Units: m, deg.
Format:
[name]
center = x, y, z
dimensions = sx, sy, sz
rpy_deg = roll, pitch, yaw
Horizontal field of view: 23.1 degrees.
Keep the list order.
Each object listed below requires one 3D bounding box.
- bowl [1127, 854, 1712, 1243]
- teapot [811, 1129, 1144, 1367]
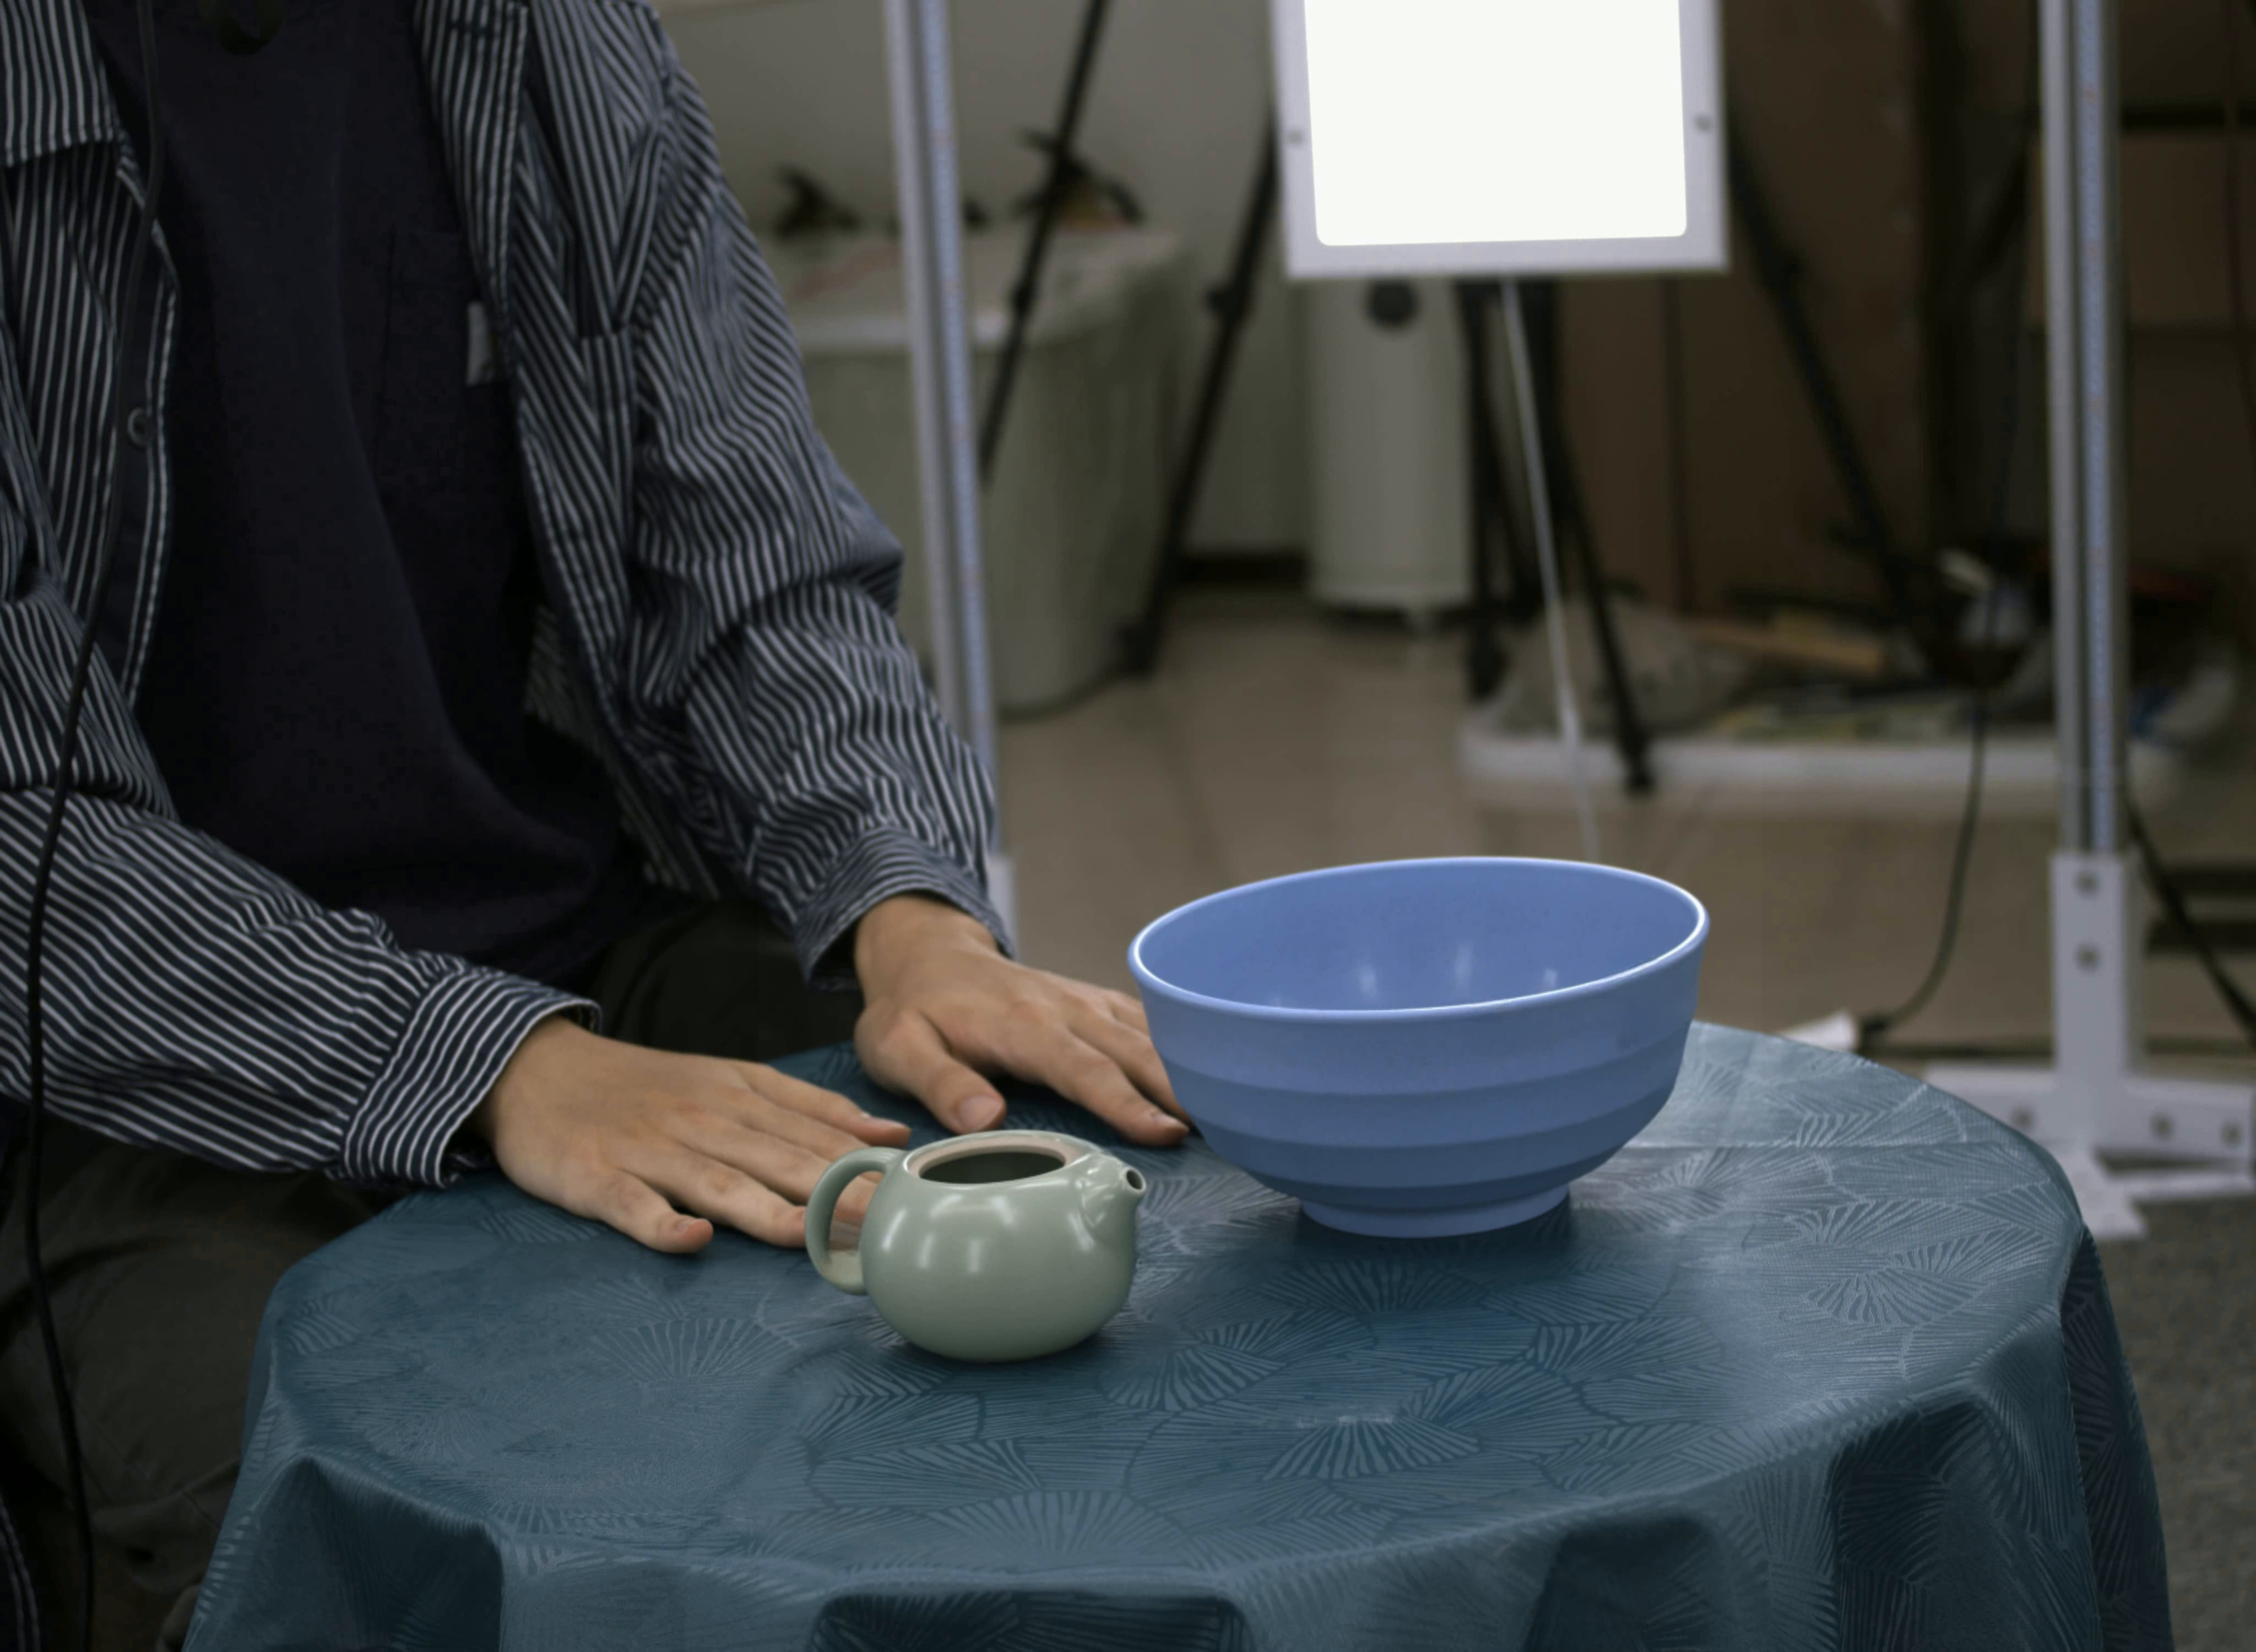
[bowl]
center = 0.101, 0.081, 1.848
dimensions = 0.196, 0.096, 0.196
rpy_deg = -6, 14, 0
[teapot]
center = -0.048, 0.134, 1.757
dimensions = 0.131, 0.061, 0.089
rpy_deg = 4, 18, 35
